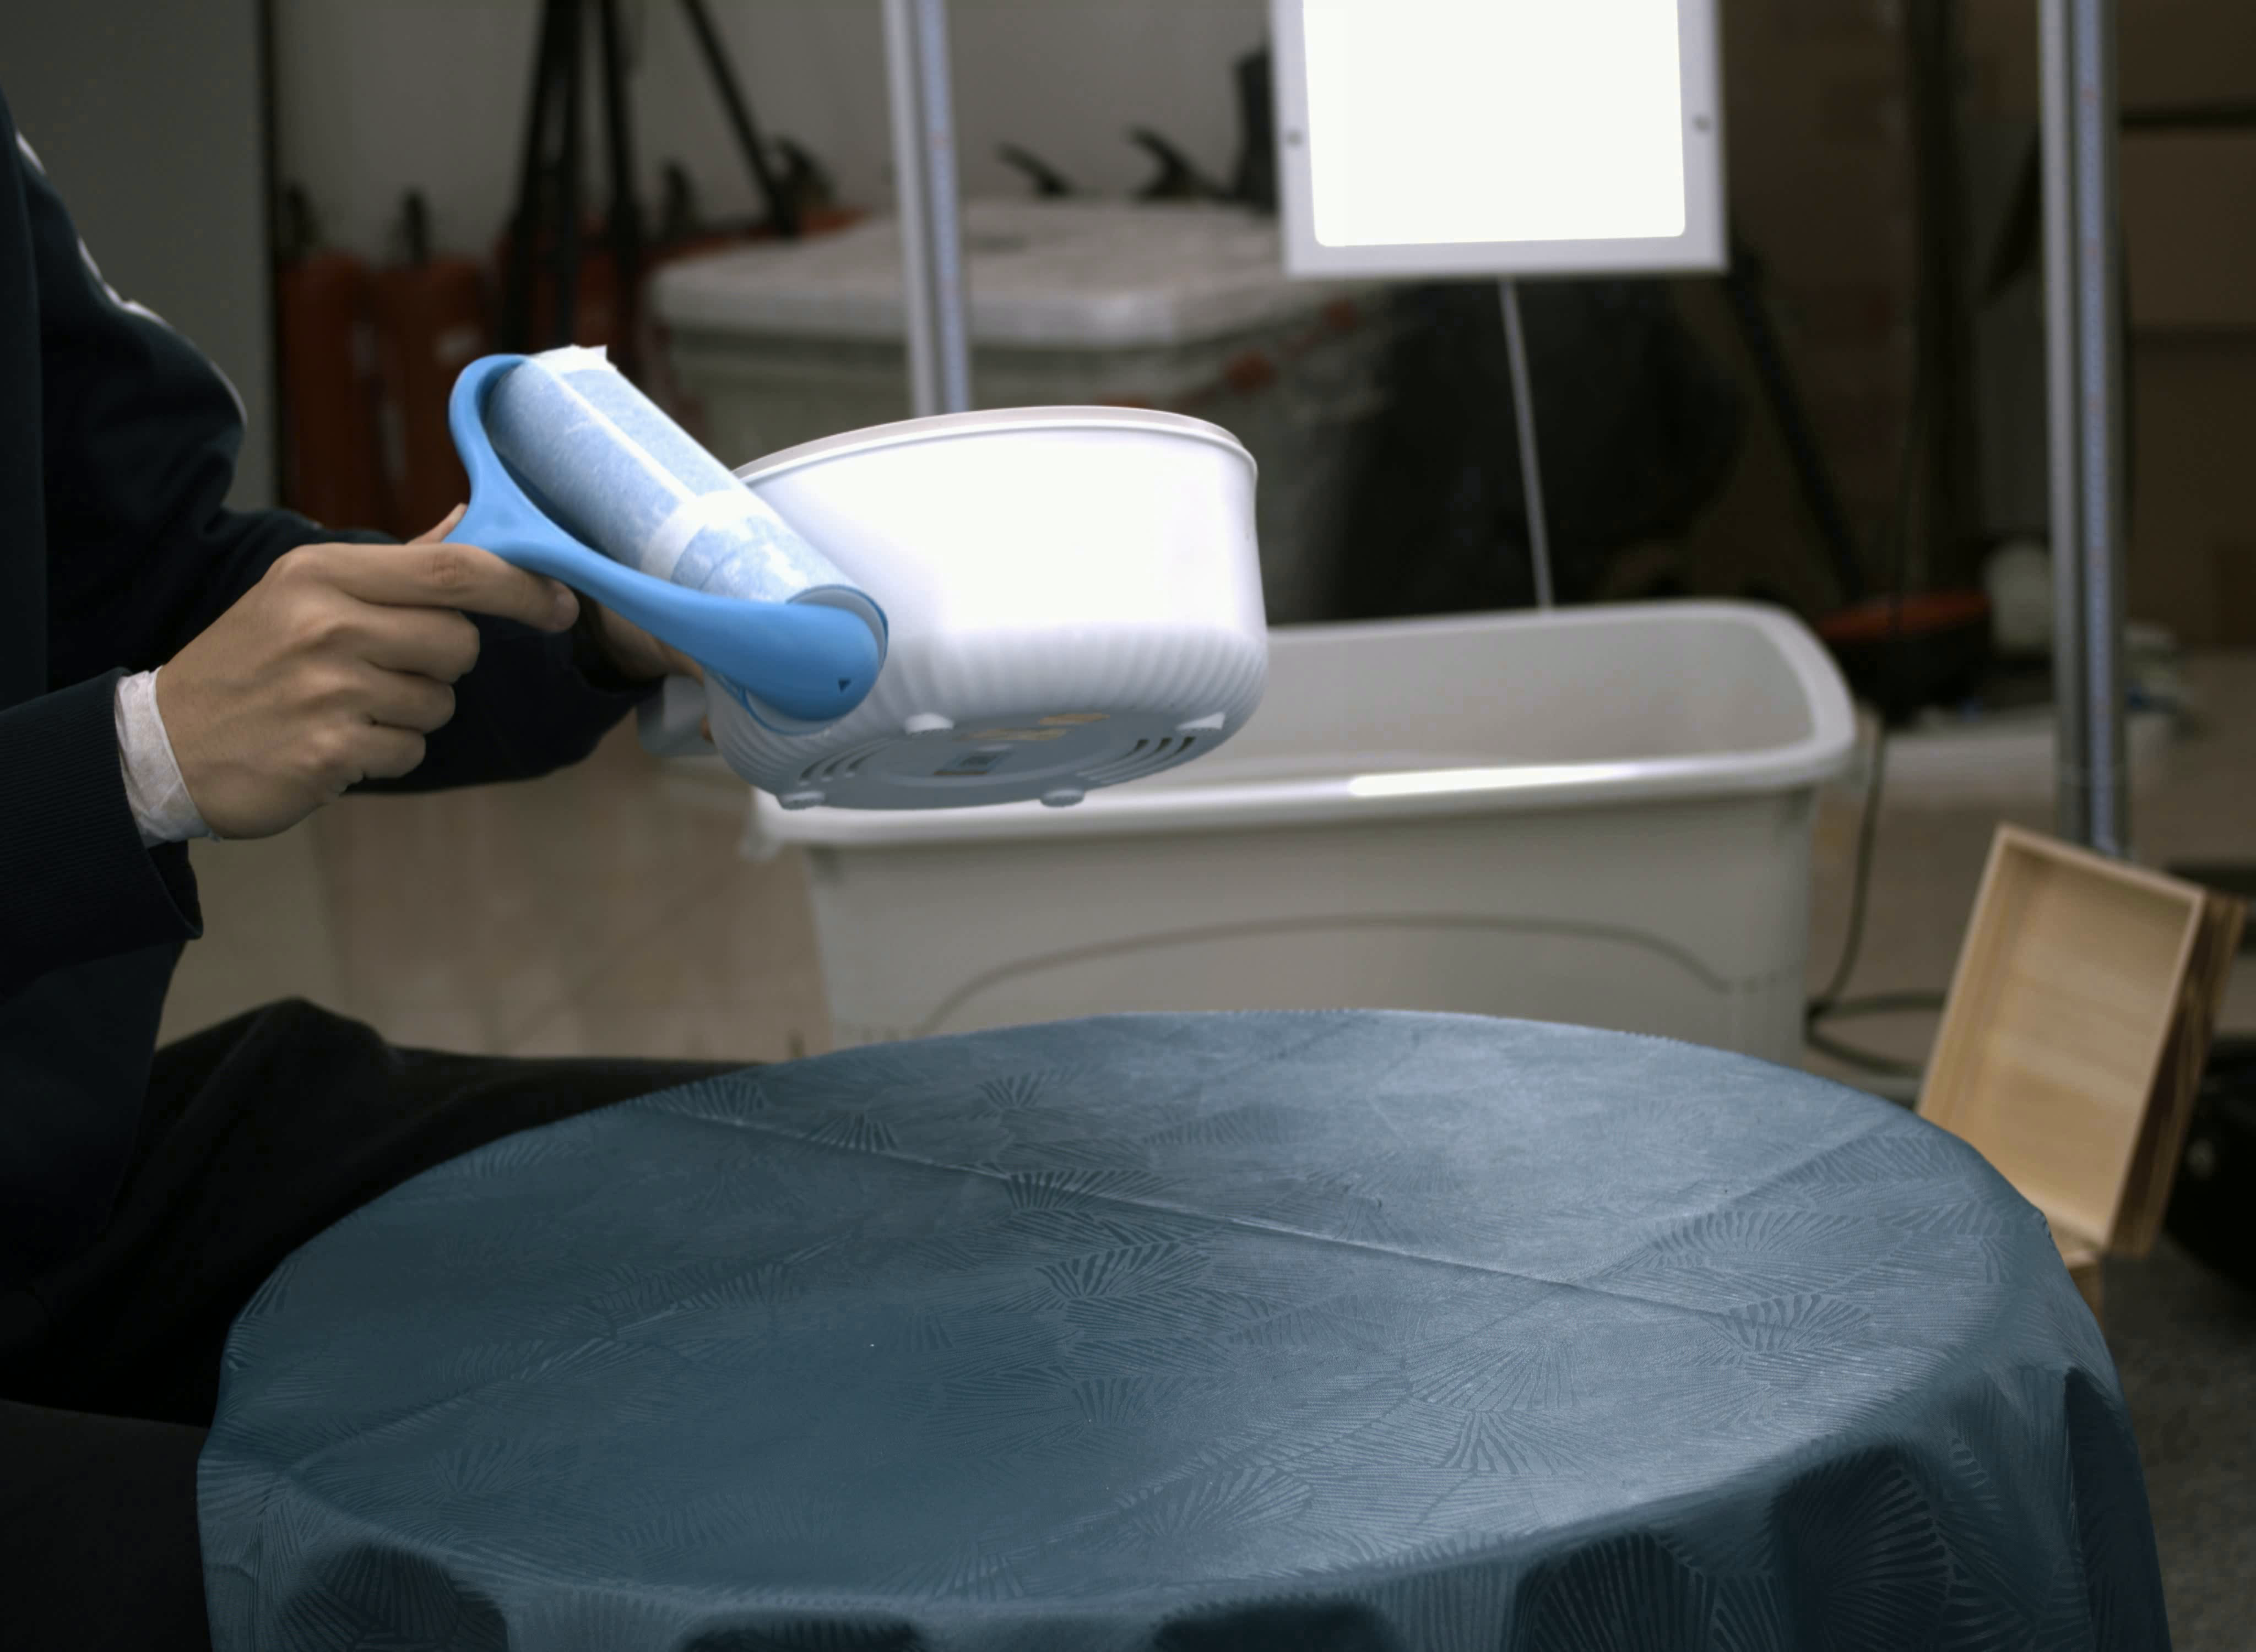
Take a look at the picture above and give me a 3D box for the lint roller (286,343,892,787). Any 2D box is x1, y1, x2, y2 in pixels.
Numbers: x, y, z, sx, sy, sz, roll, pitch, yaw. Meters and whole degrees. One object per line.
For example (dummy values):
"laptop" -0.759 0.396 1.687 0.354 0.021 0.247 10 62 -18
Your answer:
"lint roller" -0.196 -0.074 1.790 0.177 0.068 0.232 -27 40 -21

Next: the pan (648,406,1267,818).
"pan" -0.085 -0.048 1.954 0.197 0.102 0.362 -1 -13 -27
